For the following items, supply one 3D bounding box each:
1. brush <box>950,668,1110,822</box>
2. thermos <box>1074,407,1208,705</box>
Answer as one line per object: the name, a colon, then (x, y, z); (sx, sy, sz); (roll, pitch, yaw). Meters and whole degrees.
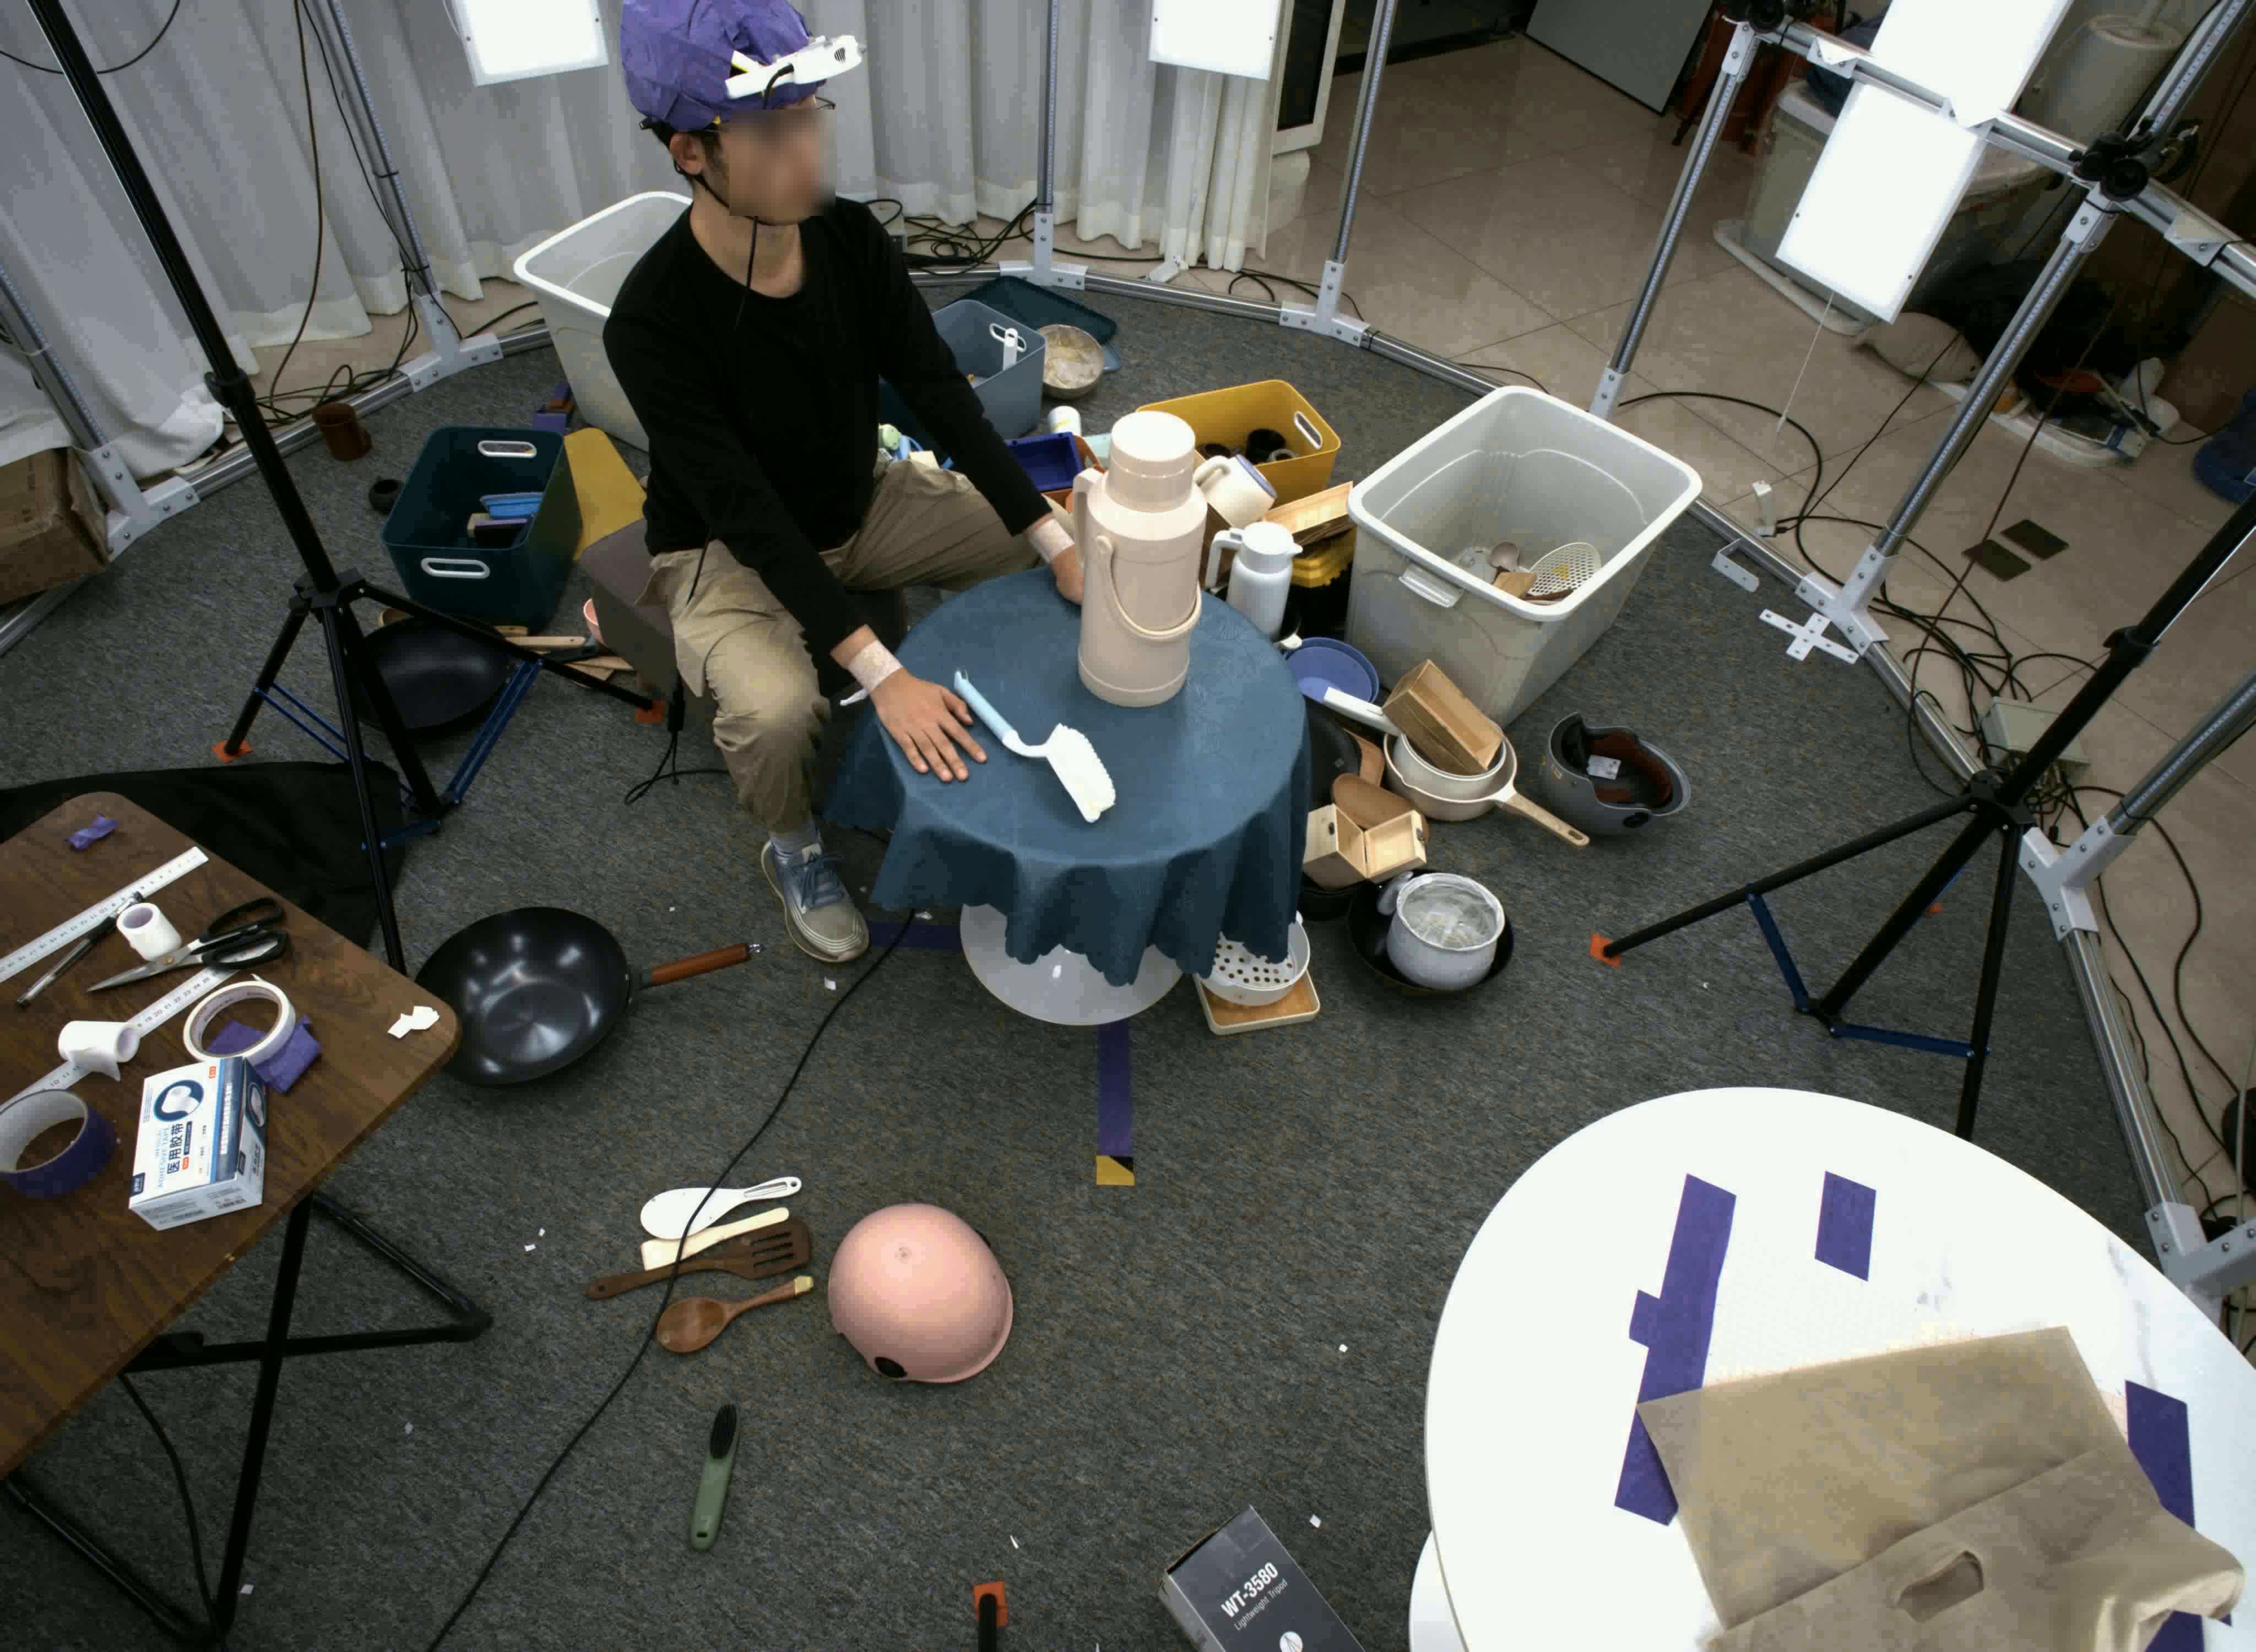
brush: (-0.128, -0.136, 1.727); (0.085, 0.081, 0.331); (-32, 60, -20)
thermos: (0.010, -0.364, 1.731); (0.209, 0.396, 0.177); (34, 57, 22)
